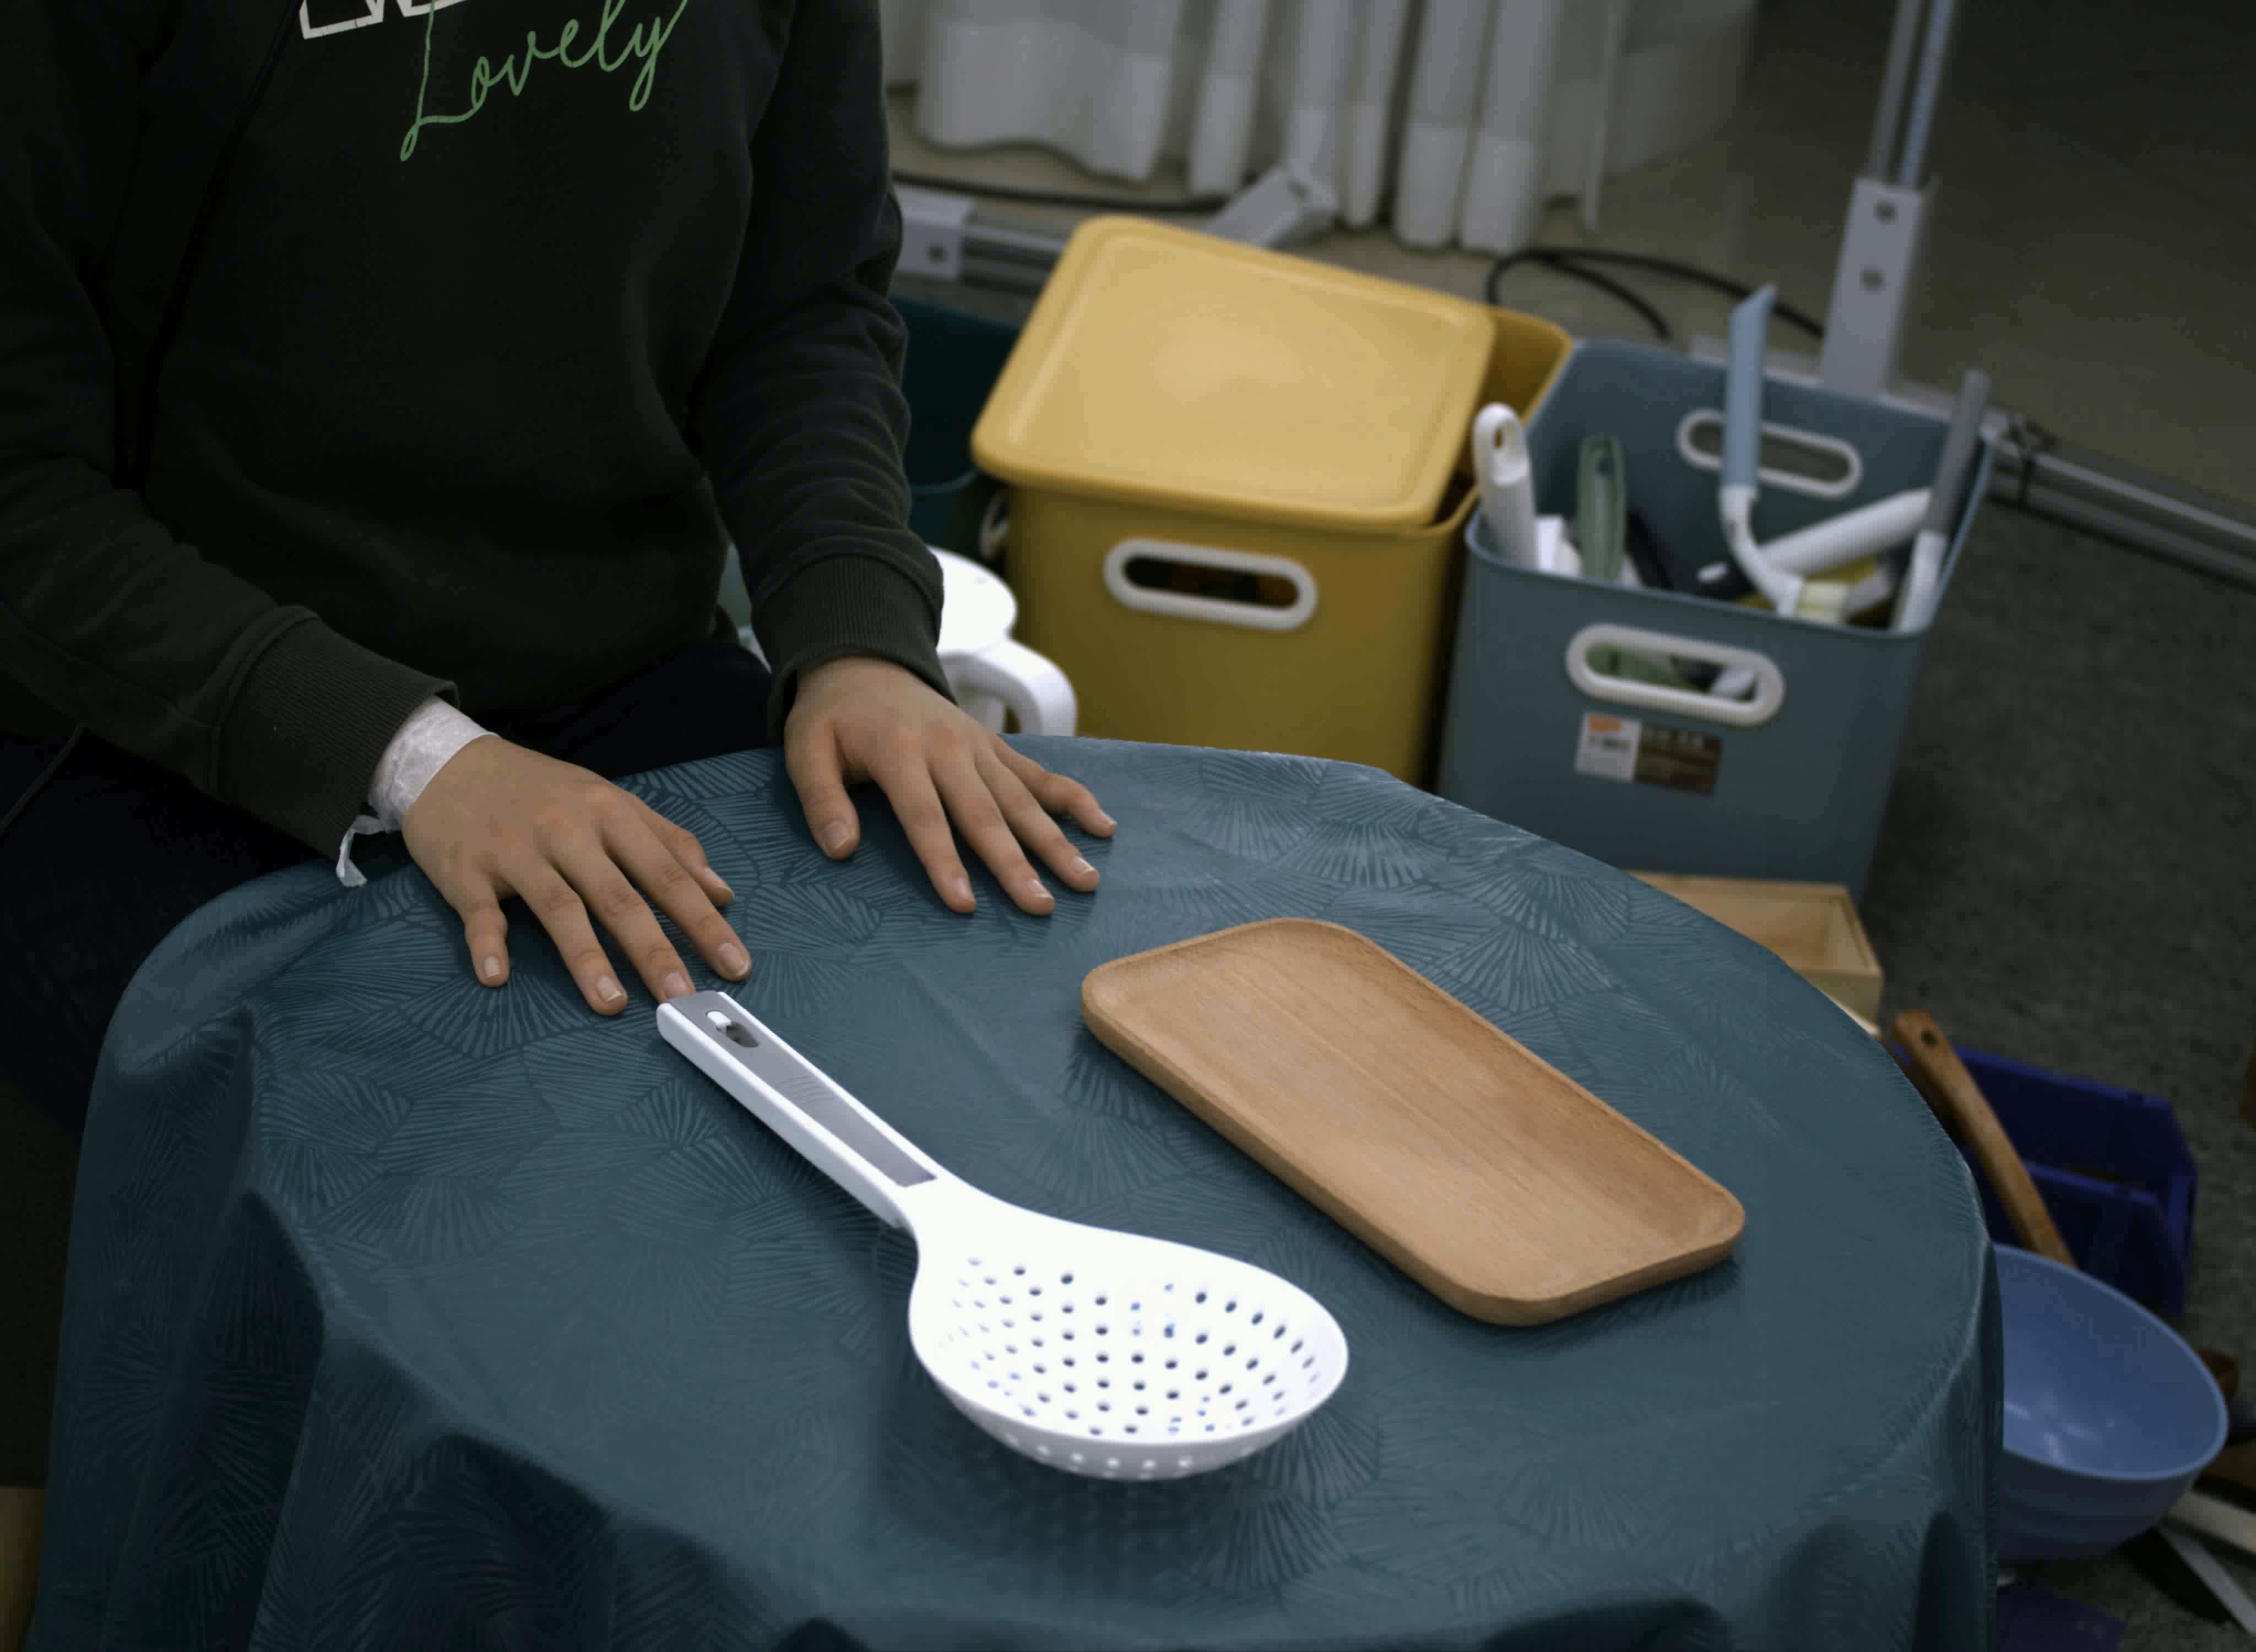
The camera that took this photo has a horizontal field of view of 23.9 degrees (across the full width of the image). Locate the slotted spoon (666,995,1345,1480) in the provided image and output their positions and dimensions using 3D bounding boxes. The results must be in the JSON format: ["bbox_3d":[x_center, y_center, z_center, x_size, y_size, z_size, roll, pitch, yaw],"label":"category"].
[{"bbox_3d":[-0.059,0.127,1.729,0.135,0.045,0.353,-8,29,-32],"label":"slotted spoon"}]

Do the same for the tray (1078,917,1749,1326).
[{"bbox_3d":[0.096,0.100,1.850,0.130,0.023,0.253,-12,31,-35],"label":"tray"}]
